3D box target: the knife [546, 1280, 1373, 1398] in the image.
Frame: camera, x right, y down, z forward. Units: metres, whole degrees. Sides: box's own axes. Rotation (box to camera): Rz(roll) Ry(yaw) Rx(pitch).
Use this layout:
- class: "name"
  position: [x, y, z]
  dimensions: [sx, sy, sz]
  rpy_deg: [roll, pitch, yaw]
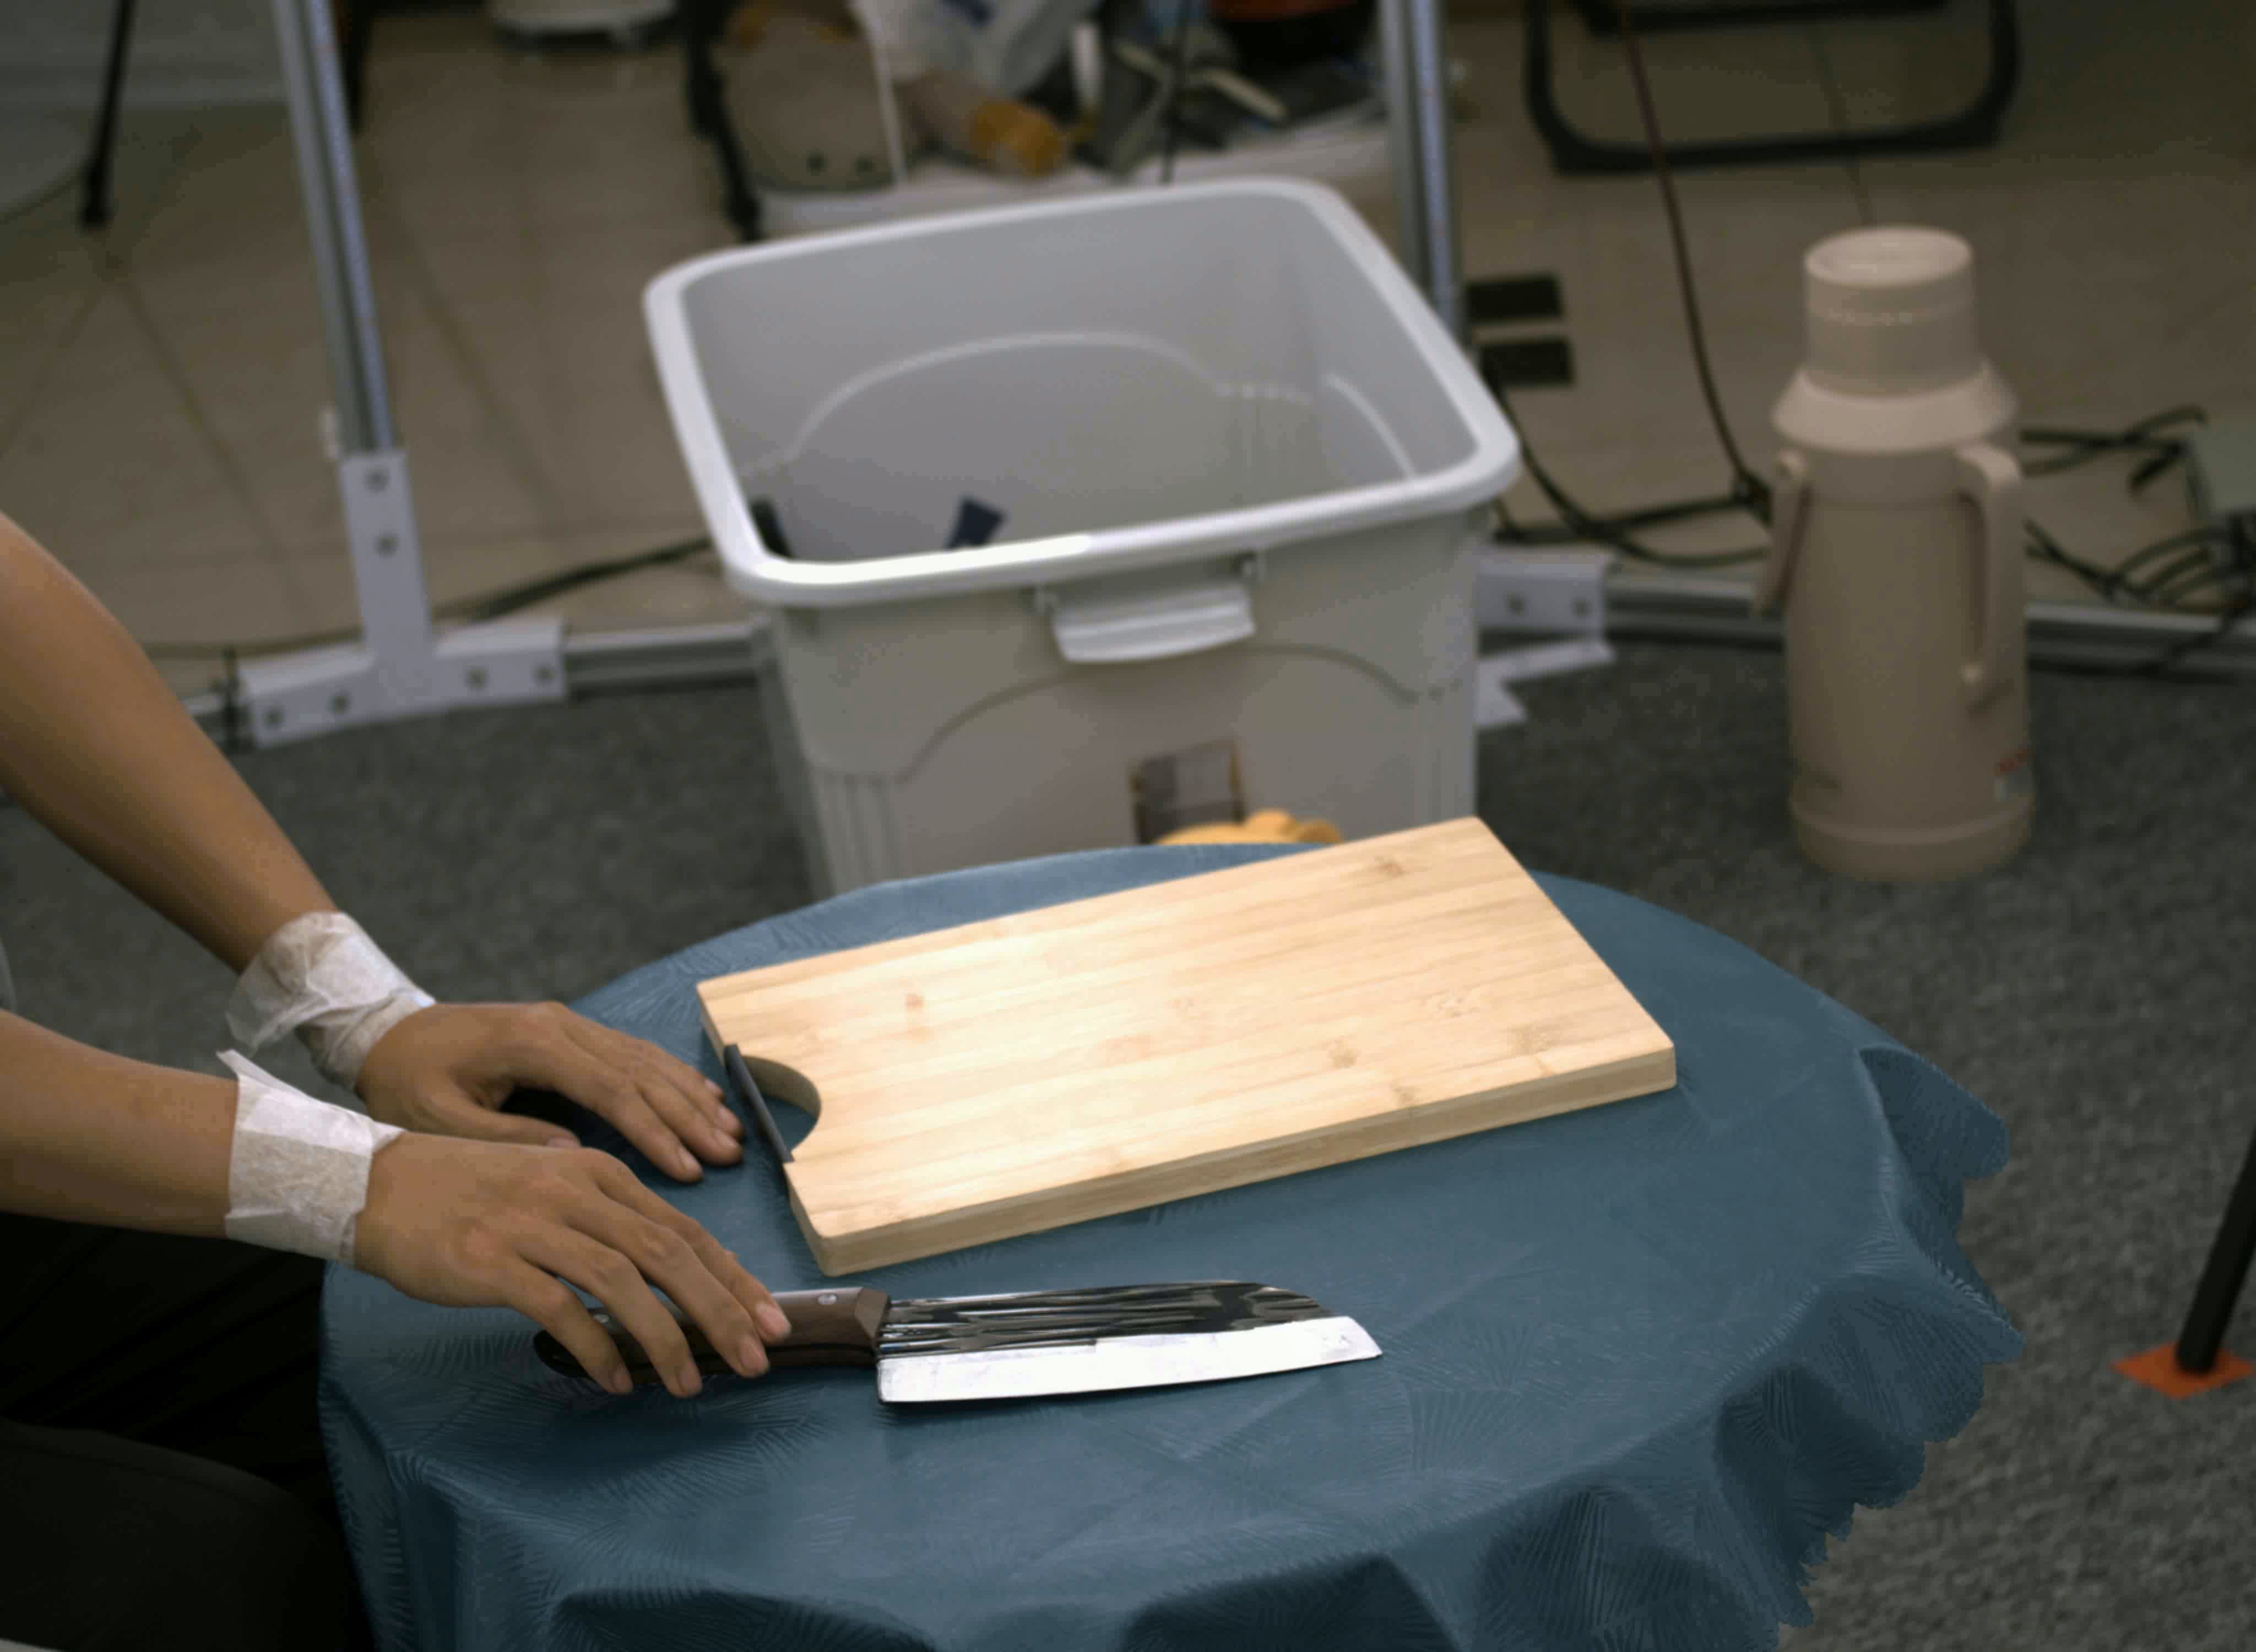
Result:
- class: "knife"
  position: [-0.062, 0.186, 2.042]
  dimensions: [0.299, 0.024, 0.067]
  rpy_deg: [-3, 27, 1]

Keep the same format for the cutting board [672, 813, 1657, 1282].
- class: "cutting board"
  position: [0.011, 0.083, 2.249]
  dimensions: [0.347, 0.024, 0.247]
  rpy_deg: [-12, 25, -12]
